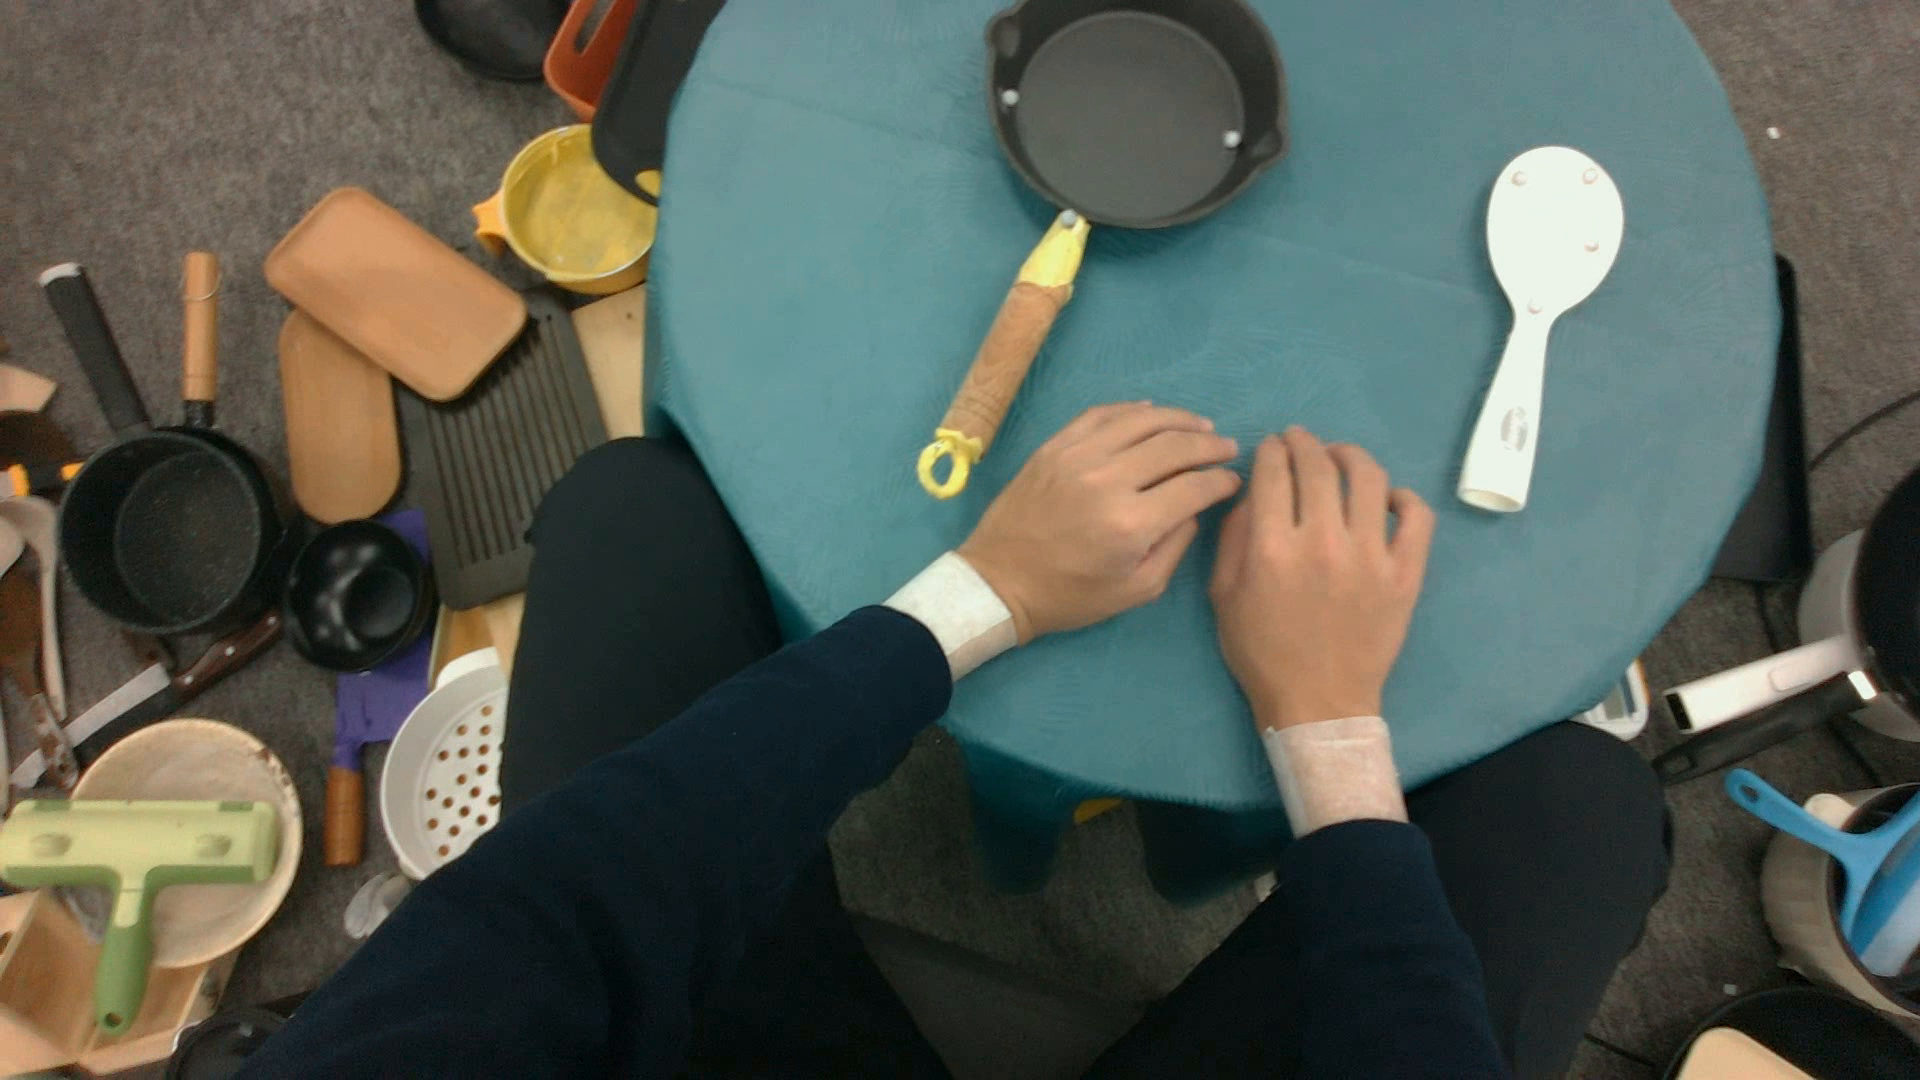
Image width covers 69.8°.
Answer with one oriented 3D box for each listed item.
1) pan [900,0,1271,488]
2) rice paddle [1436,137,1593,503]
[{"bbox_3d":[0.046,-0.167,0.711,0.169,0.049,0.325,27,77,4],"label":"pan"},{"bbox_3d":[0.285,-0.120,0.717,0.069,0.029,0.205,16,79,0],"label":"rice paddle"}]
